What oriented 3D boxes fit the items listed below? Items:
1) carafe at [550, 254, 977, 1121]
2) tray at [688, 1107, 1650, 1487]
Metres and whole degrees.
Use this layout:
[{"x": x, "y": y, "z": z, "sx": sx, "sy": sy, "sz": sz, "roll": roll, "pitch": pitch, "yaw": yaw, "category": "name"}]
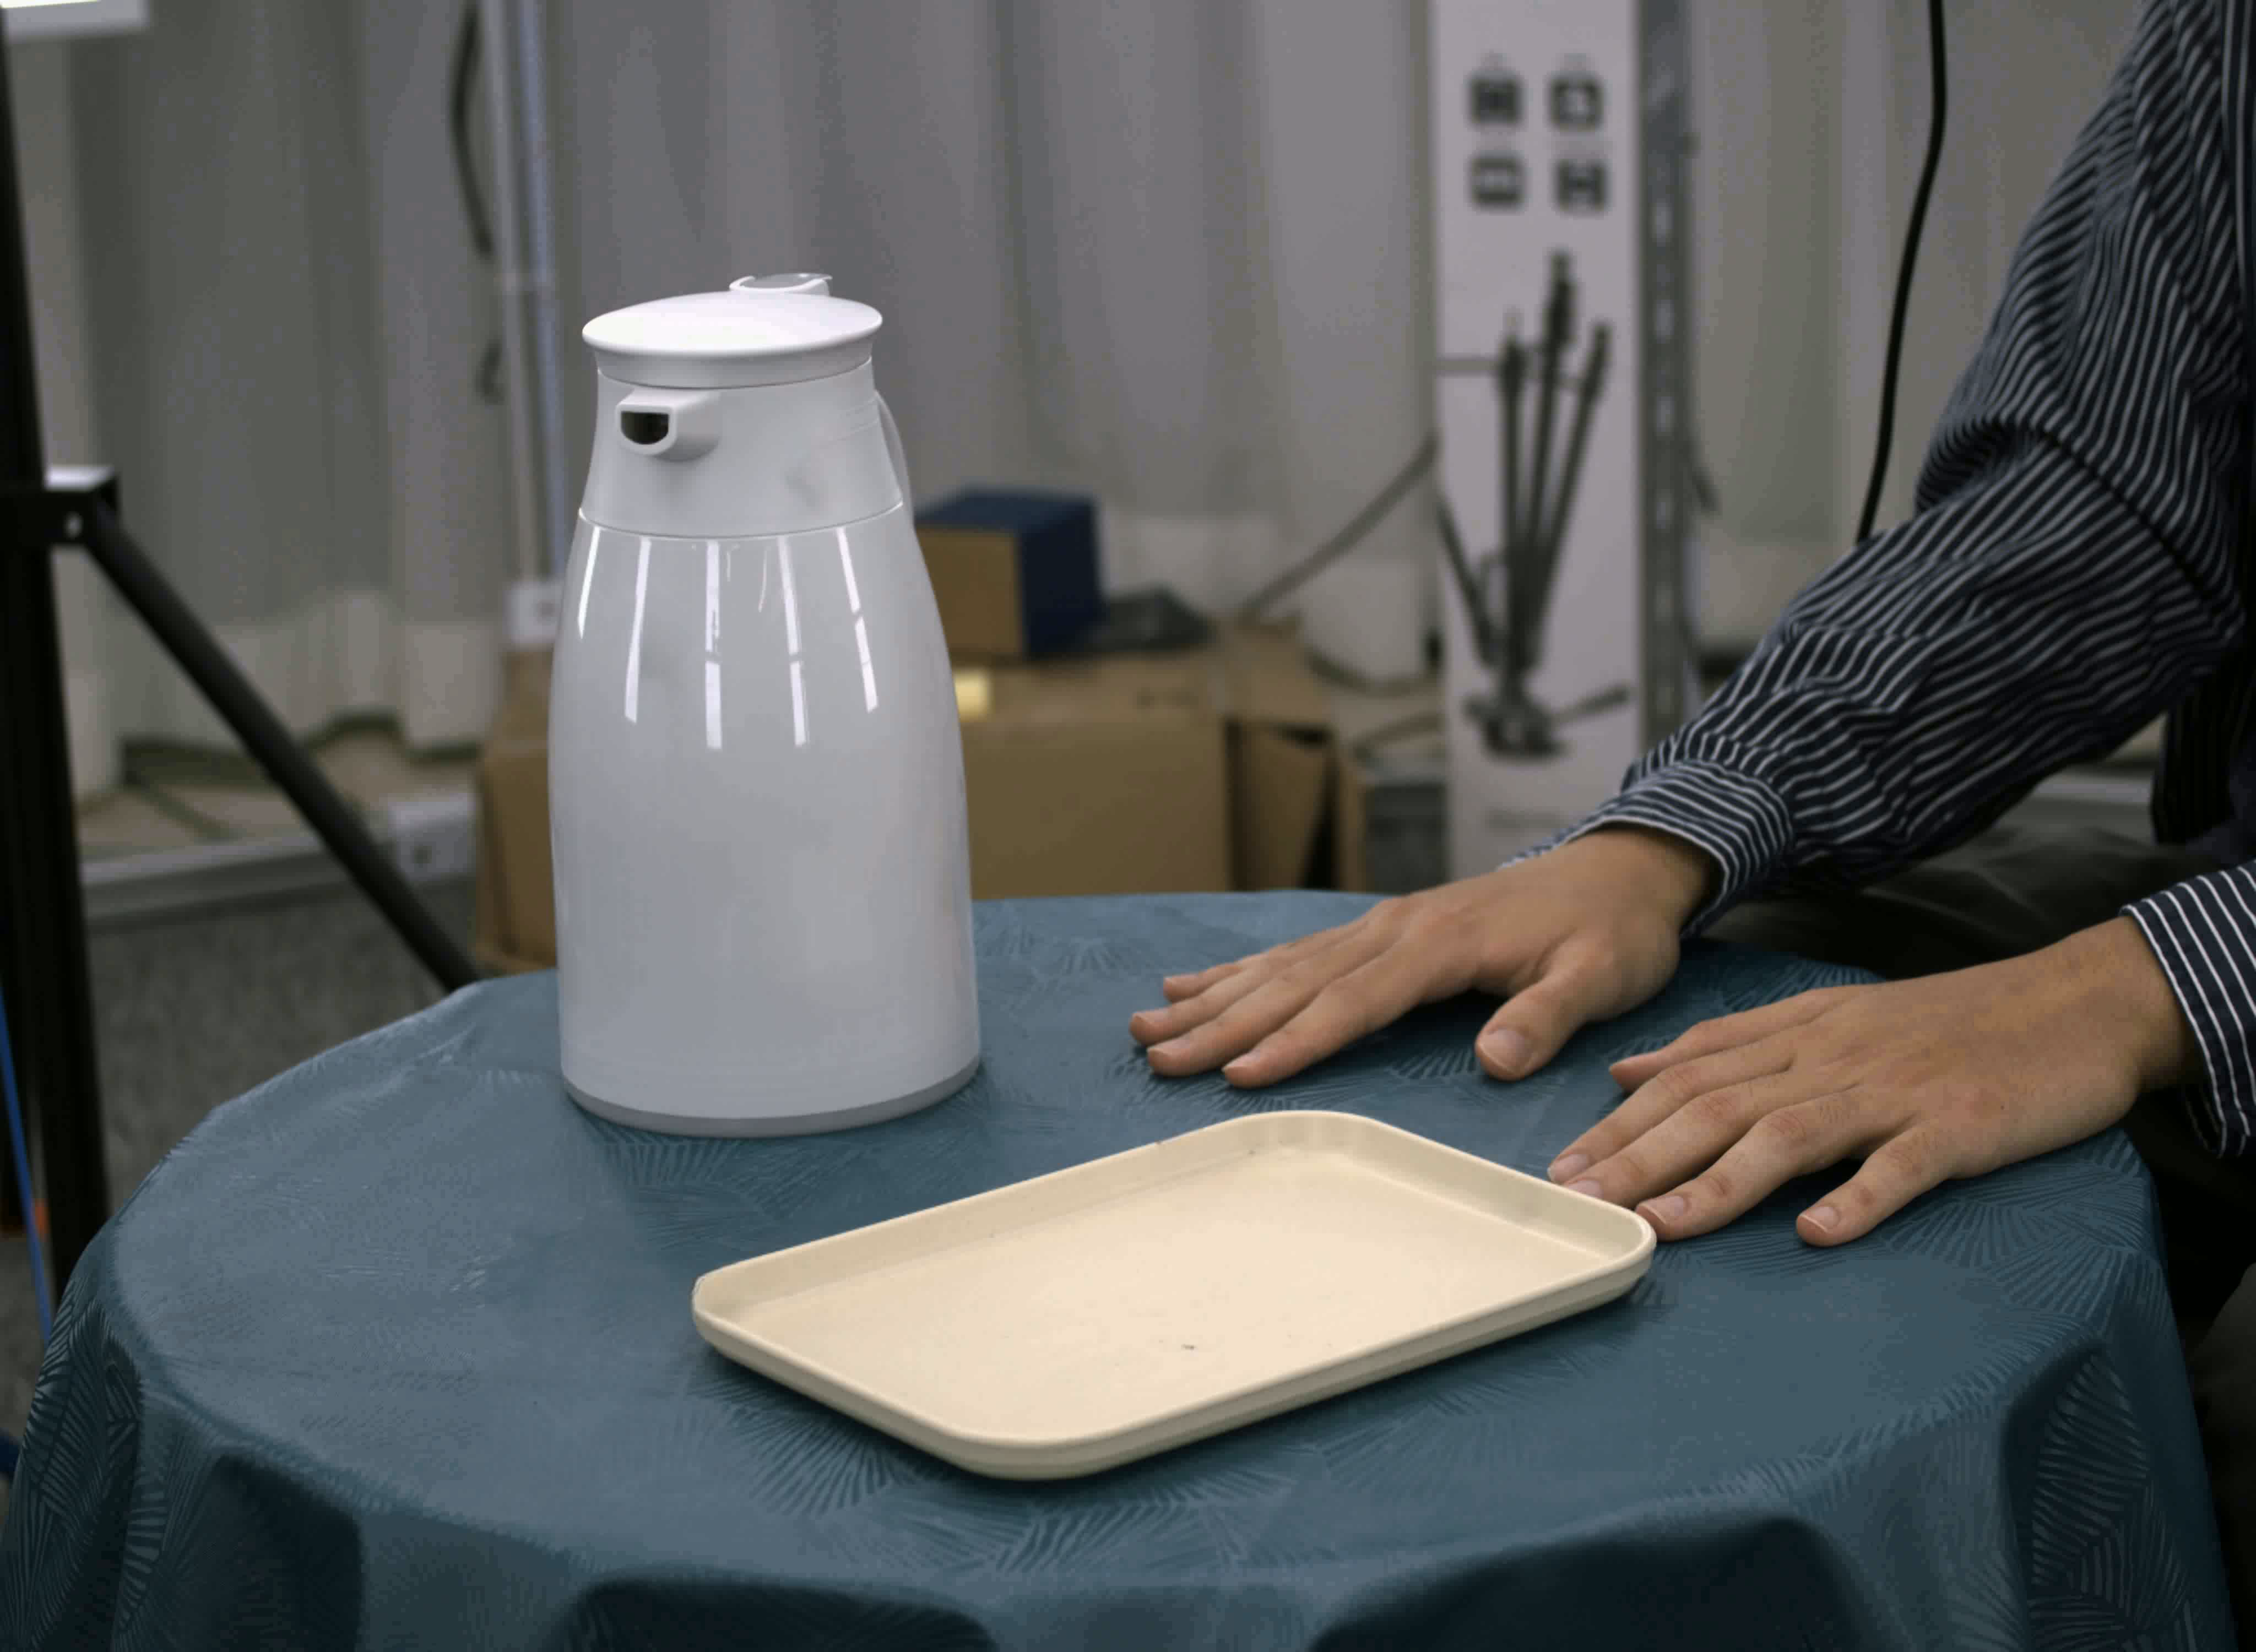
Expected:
[{"x": -0.112, "y": -0.051, "z": 1.676, "sx": 0.134, "sy": 0.248, "sz": 0.166, "roll": 3, "pitch": 15, "yaw": 18, "category": "carafe"}, {"x": 0.013, "y": 0.128, "z": 1.459, "sx": 0.234, "sy": 0.017, "sz": 0.175, "roll": -14, "pitch": 20, "yaw": -35, "category": "tray"}]
